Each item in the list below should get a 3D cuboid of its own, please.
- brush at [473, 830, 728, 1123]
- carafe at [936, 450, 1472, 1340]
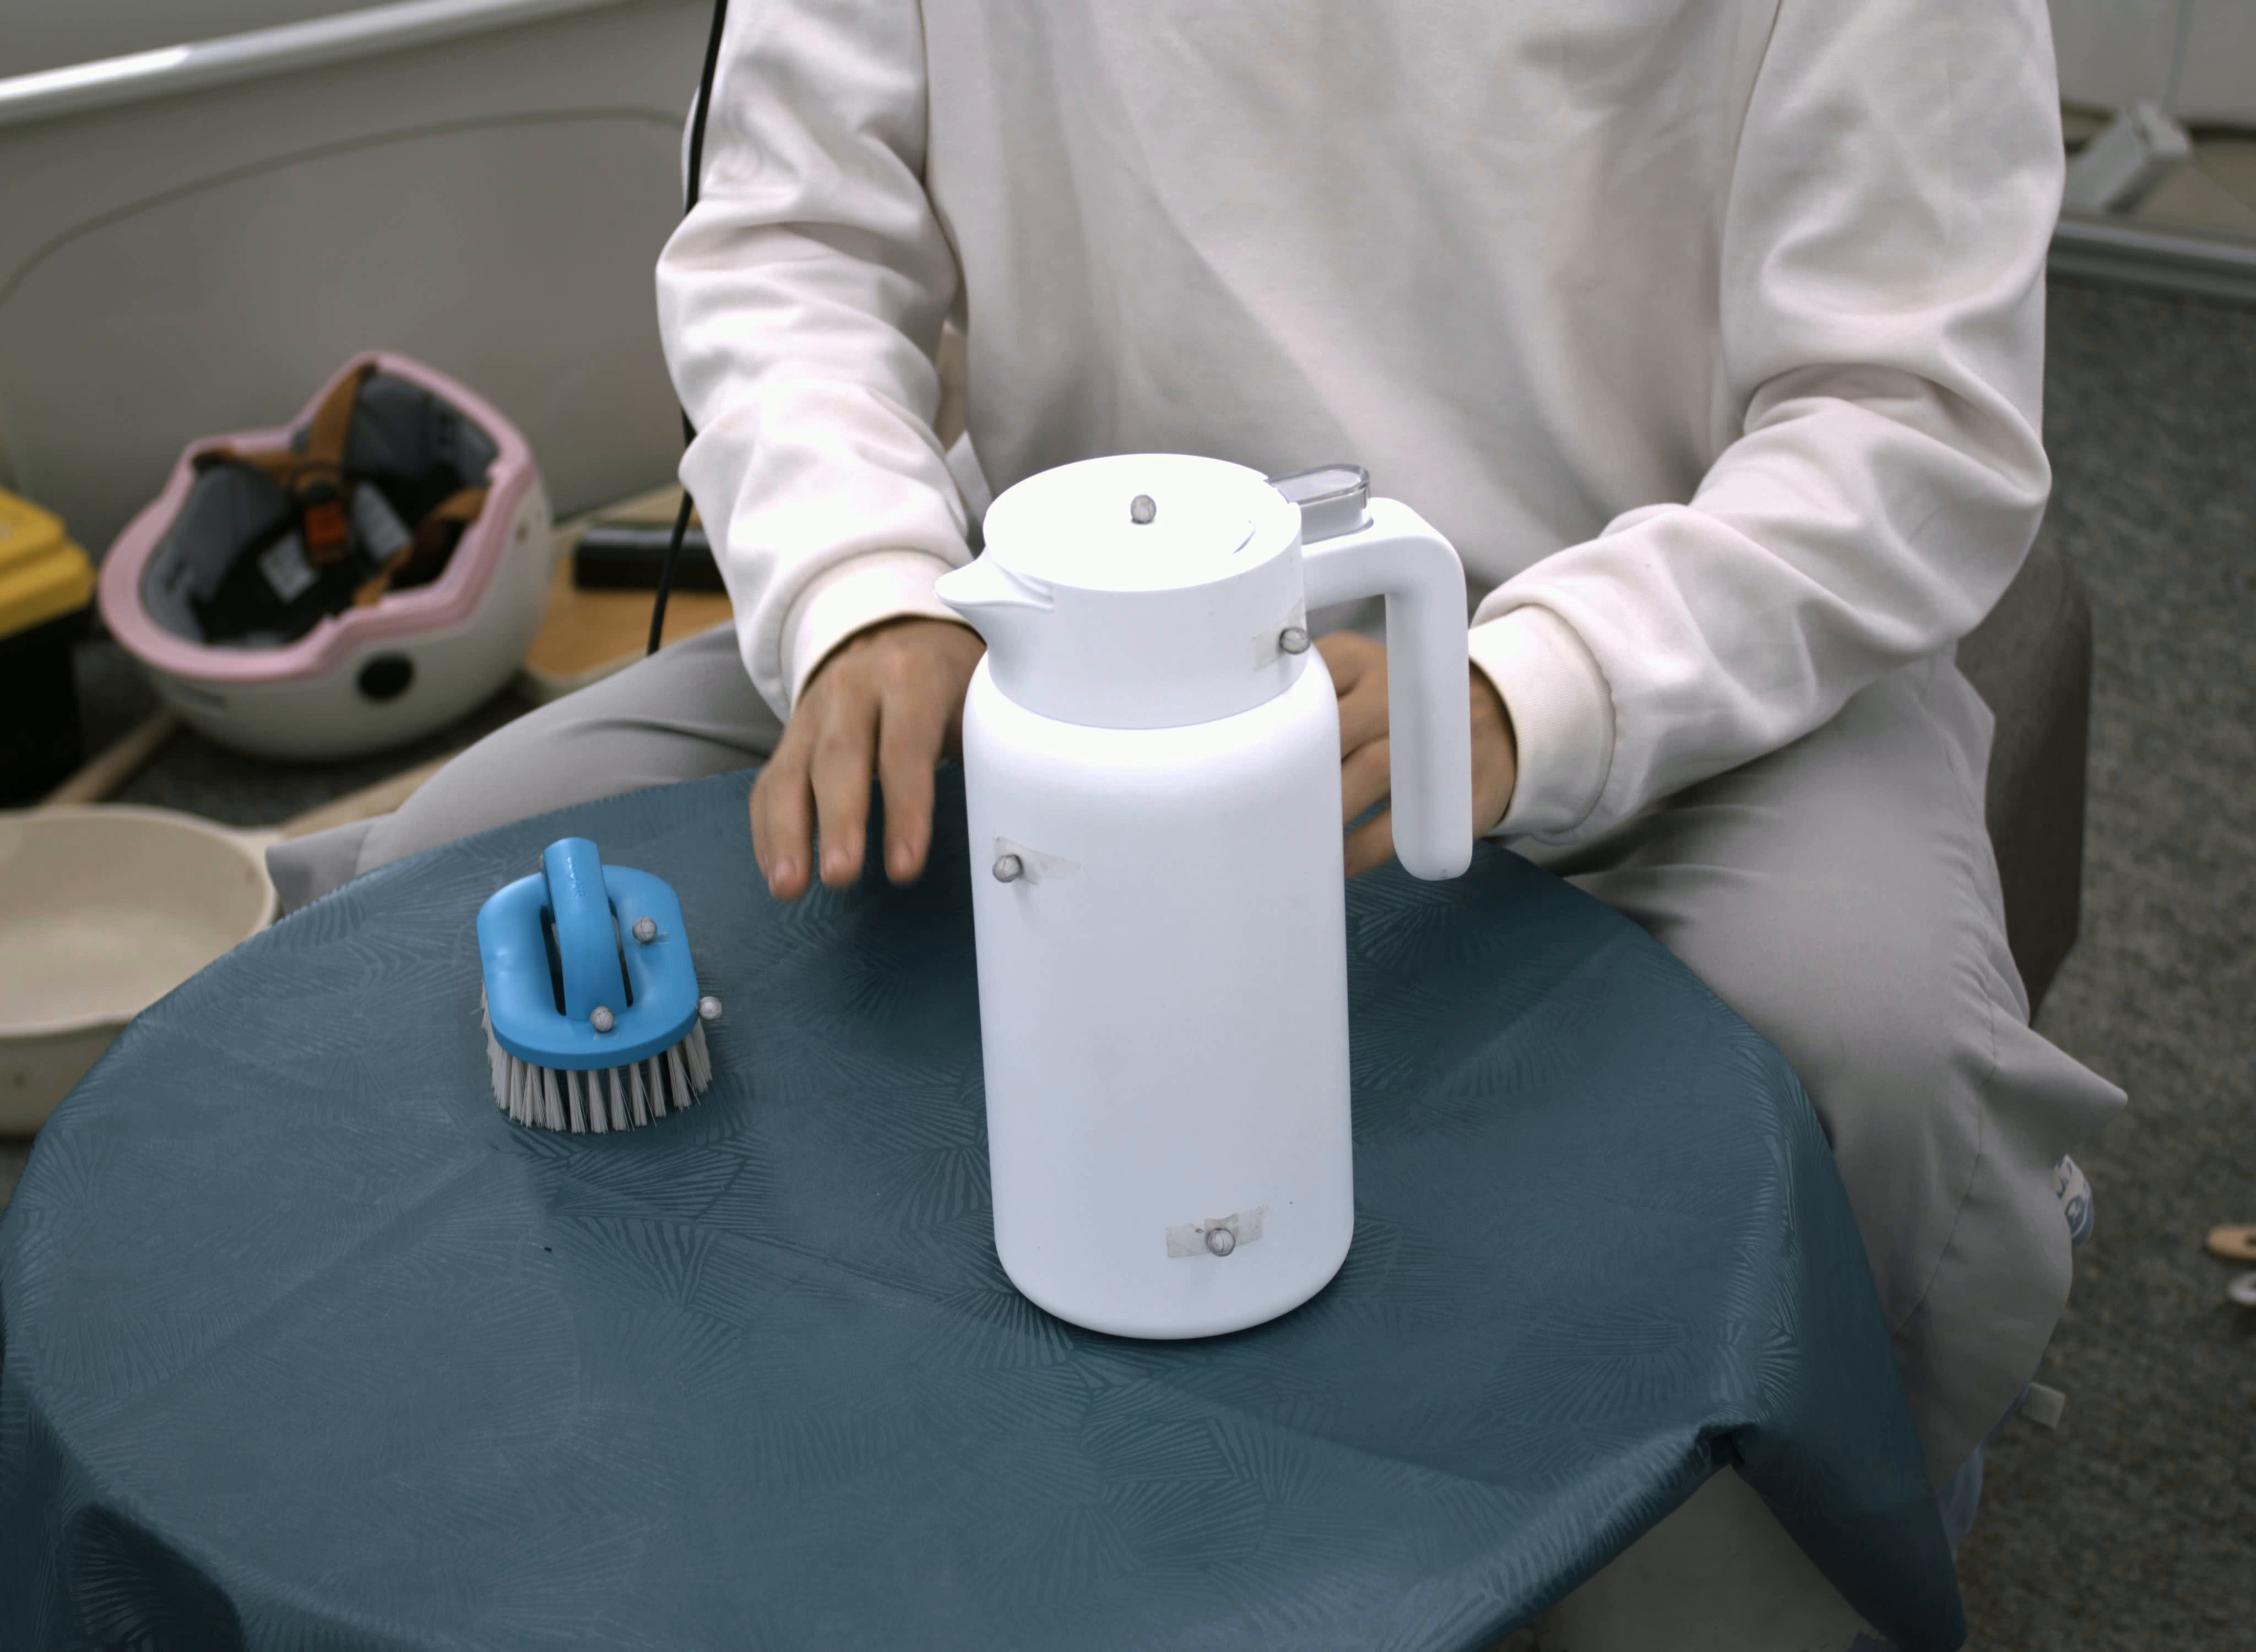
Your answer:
[{"bbox_3d":[-0.188,0.044,1.960,0.084,0.063,0.143,-10,27,-4],"label":"brush"},{"bbox_3d":[0.026,0.018,1.777,0.173,0.266,0.124,-13,26,-21],"label":"carafe"}]
